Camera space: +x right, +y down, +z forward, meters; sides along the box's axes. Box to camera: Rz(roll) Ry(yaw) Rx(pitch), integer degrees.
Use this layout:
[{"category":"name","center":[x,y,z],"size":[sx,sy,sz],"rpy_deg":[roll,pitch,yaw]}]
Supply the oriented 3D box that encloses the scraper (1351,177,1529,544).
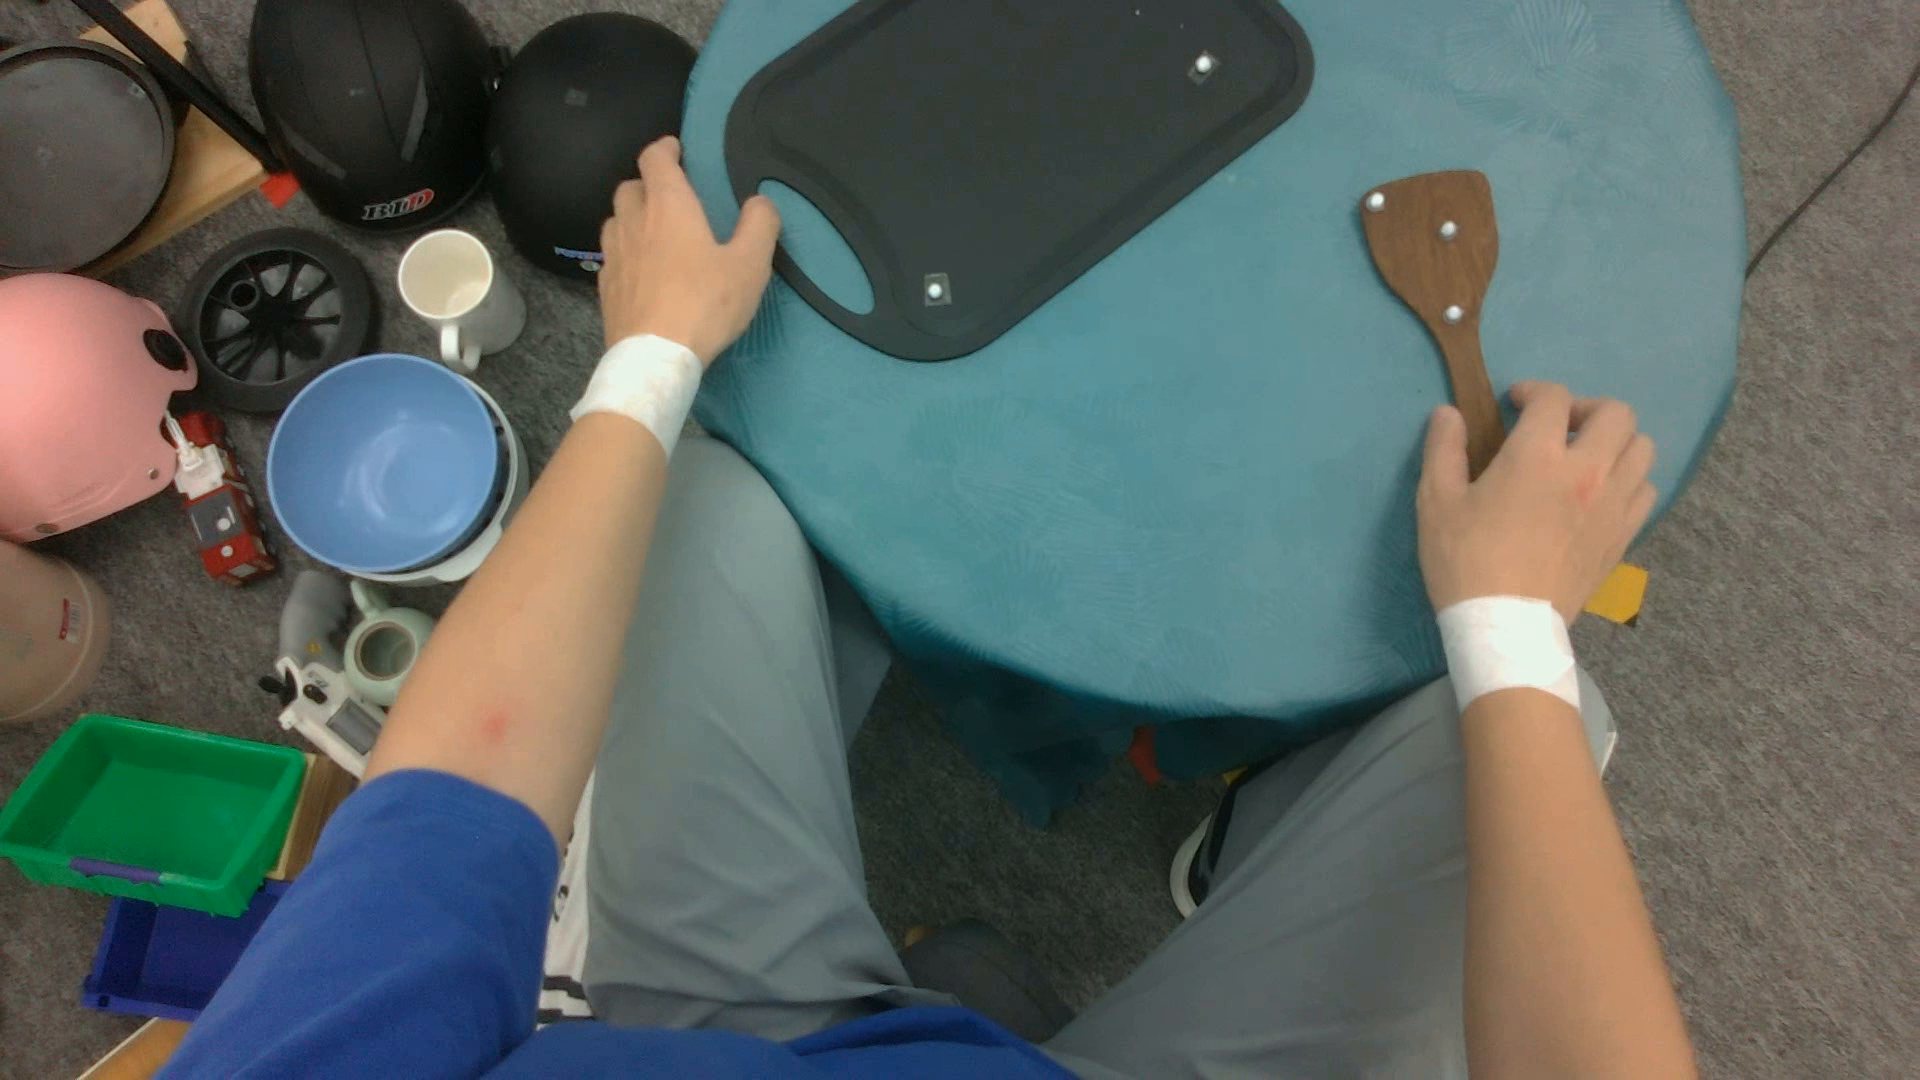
[{"category":"scraper","center":[0.273,-0.100,0.757],"size":[0.076,0.011,0.211],"rpy_deg":[-10,77,-1]}]

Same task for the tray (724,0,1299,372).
[{"category":"tray","center":[0.025,-0.242,0.795],"size":[0.326,0.010,0.211],"rpy_deg":[-38,79,-8]}]
